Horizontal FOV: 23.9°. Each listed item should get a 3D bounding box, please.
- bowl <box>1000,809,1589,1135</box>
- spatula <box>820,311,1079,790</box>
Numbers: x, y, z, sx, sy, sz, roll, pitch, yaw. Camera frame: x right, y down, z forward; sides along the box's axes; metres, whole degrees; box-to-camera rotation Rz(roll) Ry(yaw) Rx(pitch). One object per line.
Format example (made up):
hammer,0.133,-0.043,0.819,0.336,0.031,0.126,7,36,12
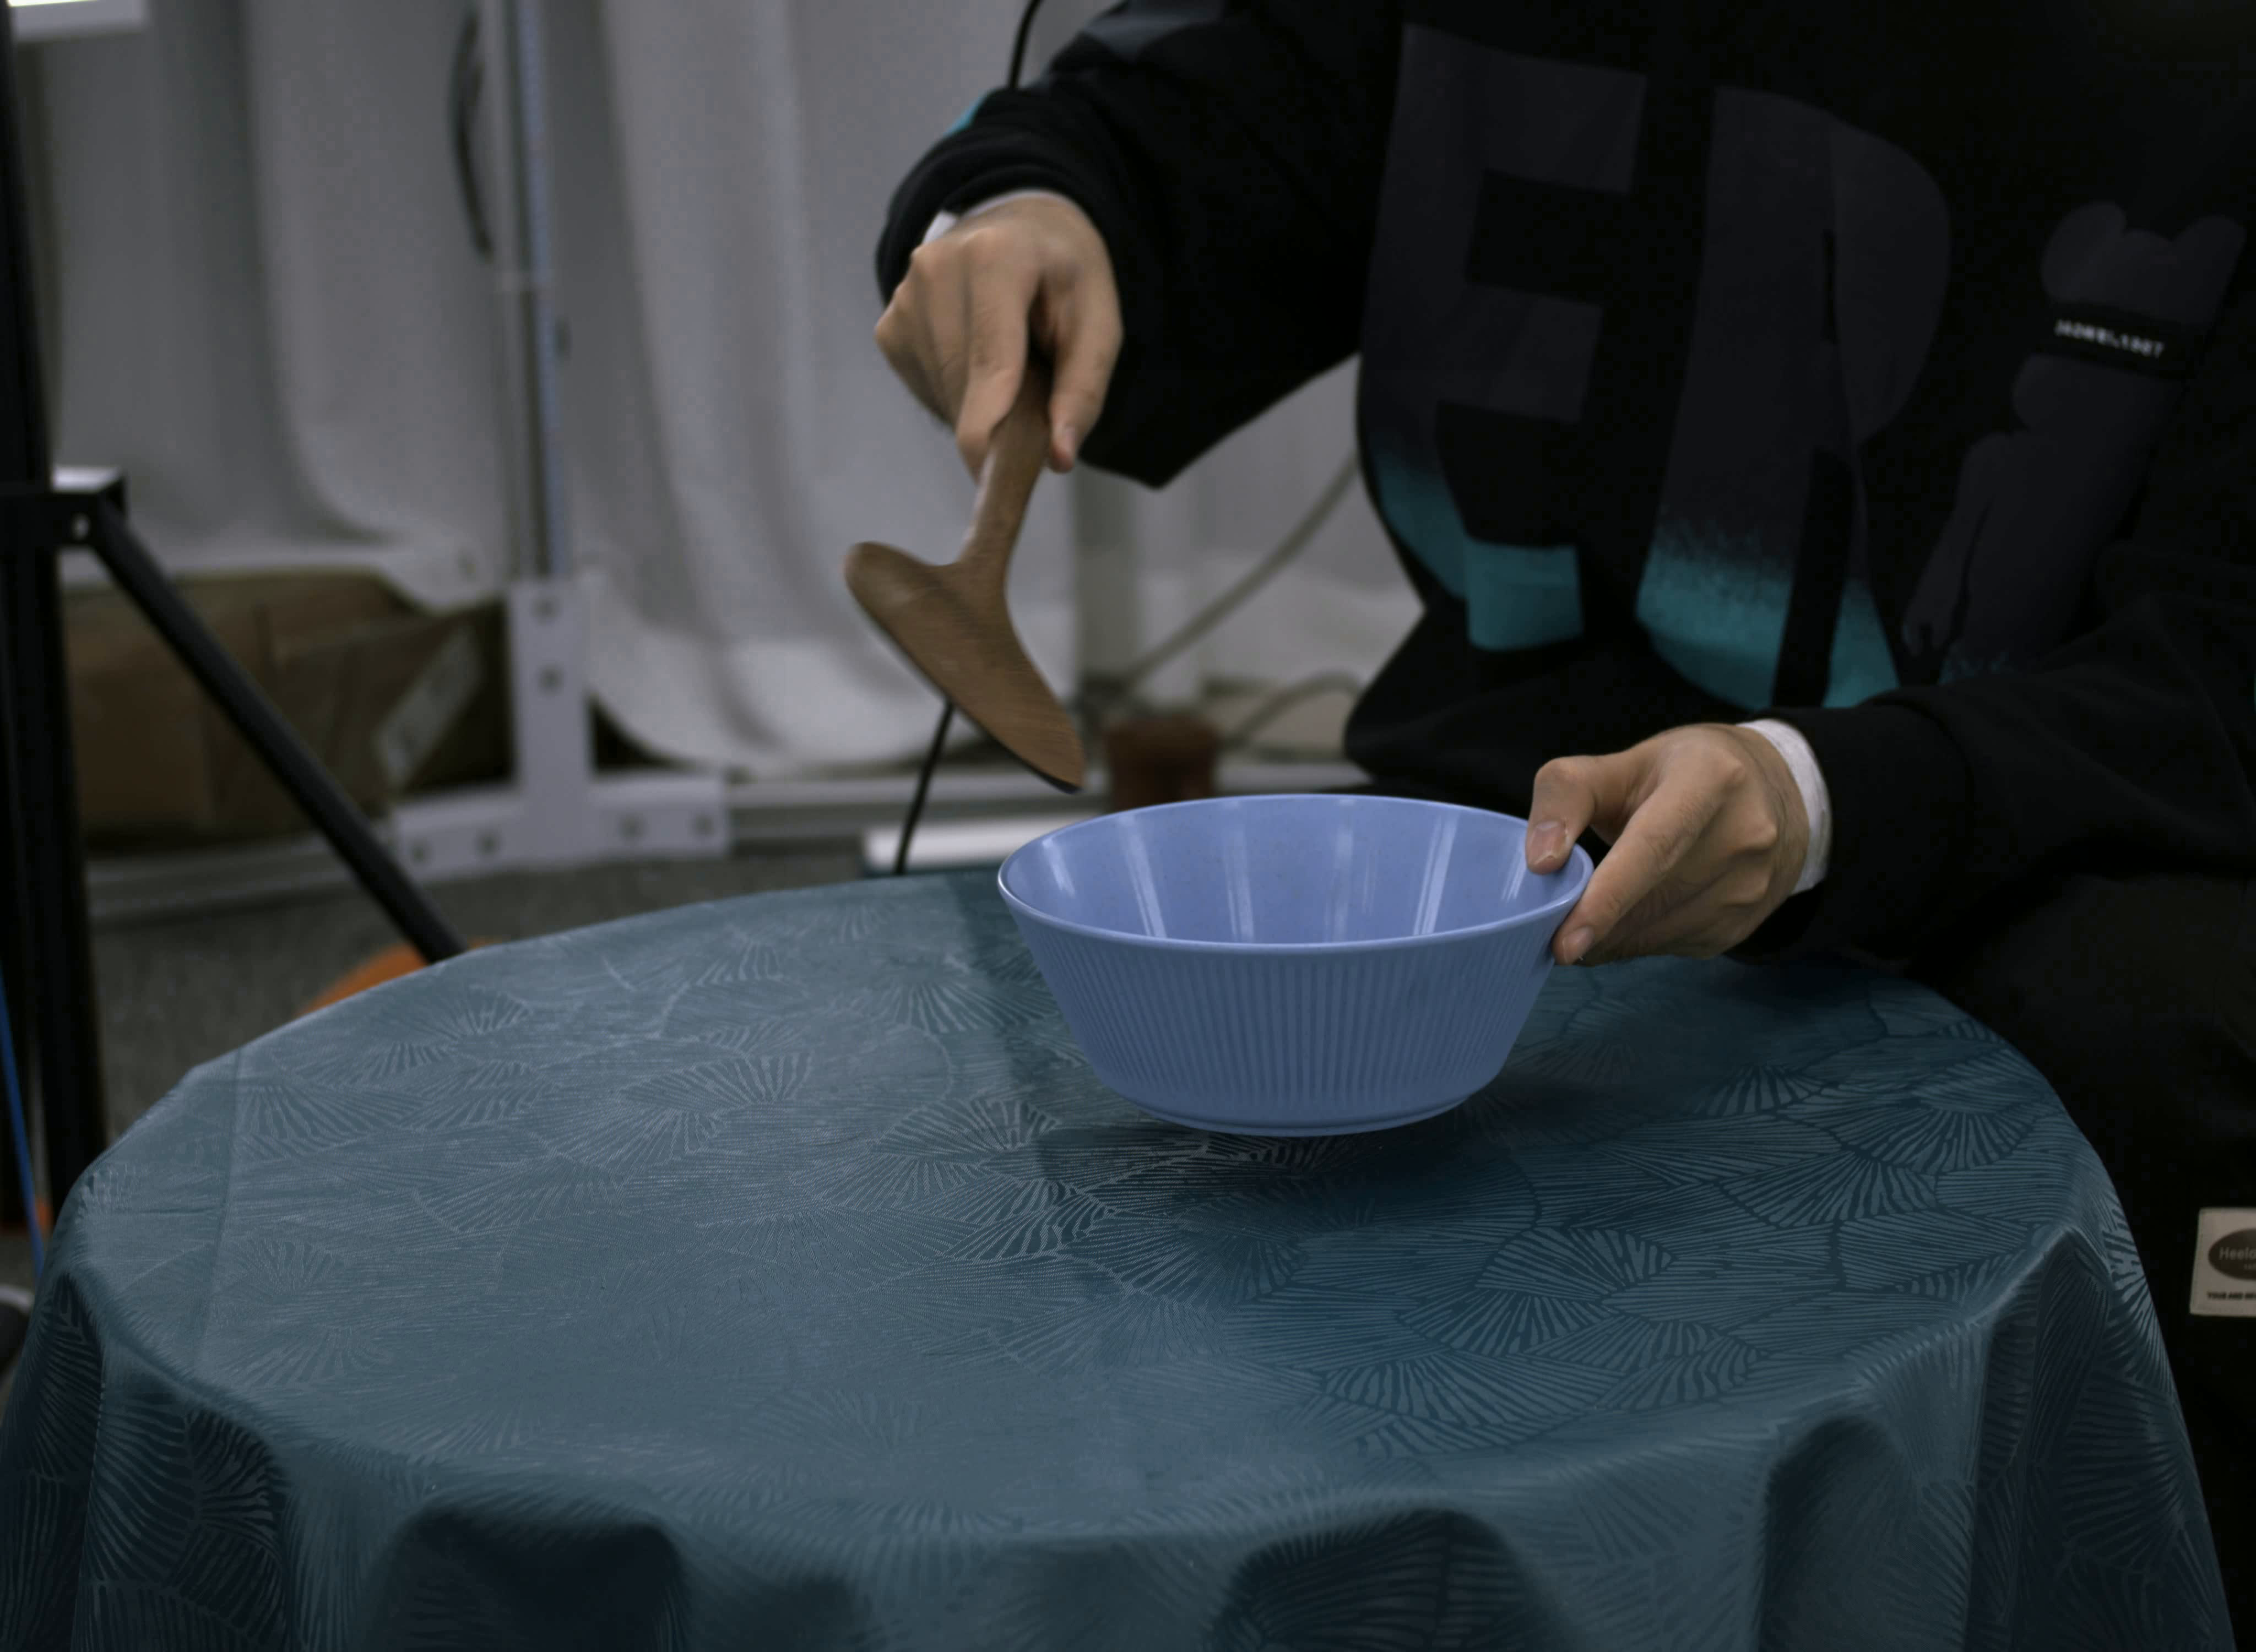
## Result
bowl,0.050,0.045,1.578,0.175,0.070,0.177,-1,13,-1
spatula,-0.042,-0.102,1.680,0.095,0.016,0.387,40,19,-11
